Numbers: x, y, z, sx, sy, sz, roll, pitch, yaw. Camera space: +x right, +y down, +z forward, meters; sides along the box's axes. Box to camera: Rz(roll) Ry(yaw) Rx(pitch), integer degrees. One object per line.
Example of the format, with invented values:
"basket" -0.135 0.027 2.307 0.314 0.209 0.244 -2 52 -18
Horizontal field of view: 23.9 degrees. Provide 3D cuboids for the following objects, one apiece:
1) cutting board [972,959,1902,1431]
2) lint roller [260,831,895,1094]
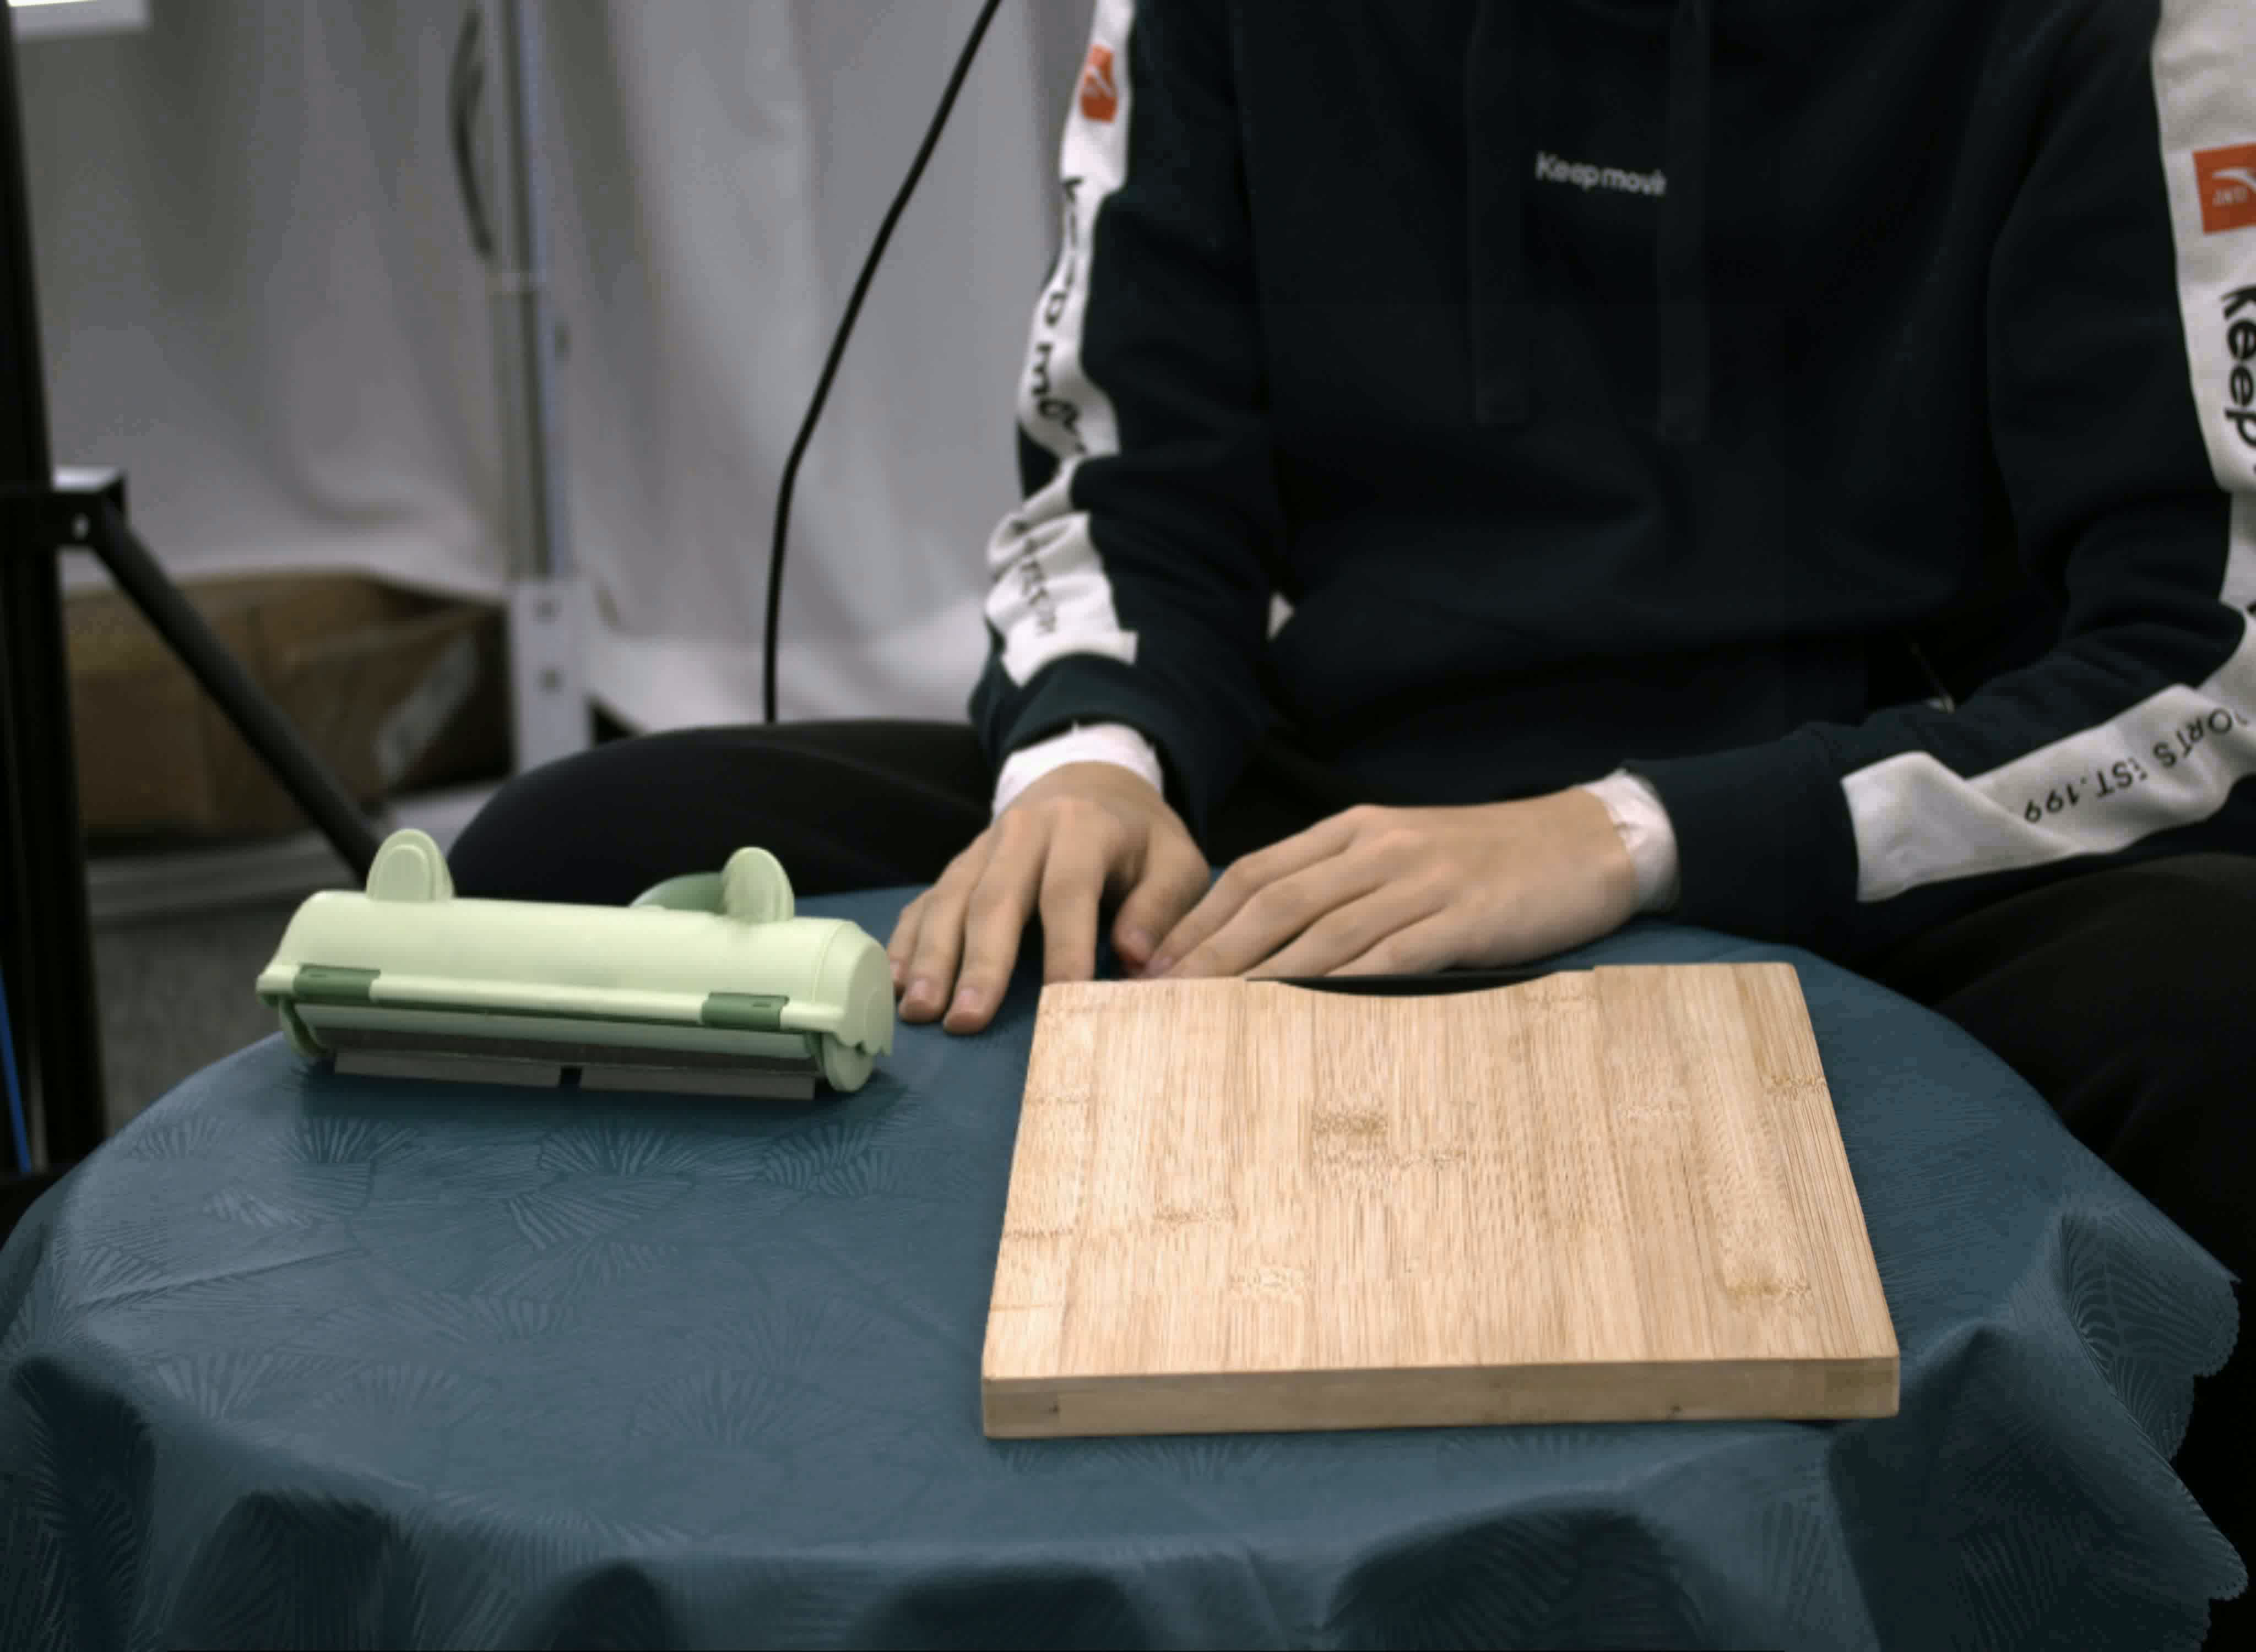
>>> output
"cutting board" 0.088 0.102 1.534 0.250 0.023 0.349 -2 16 3
"lint roller" -0.158 0.027 1.731 0.200 0.082 0.182 2 21 18
